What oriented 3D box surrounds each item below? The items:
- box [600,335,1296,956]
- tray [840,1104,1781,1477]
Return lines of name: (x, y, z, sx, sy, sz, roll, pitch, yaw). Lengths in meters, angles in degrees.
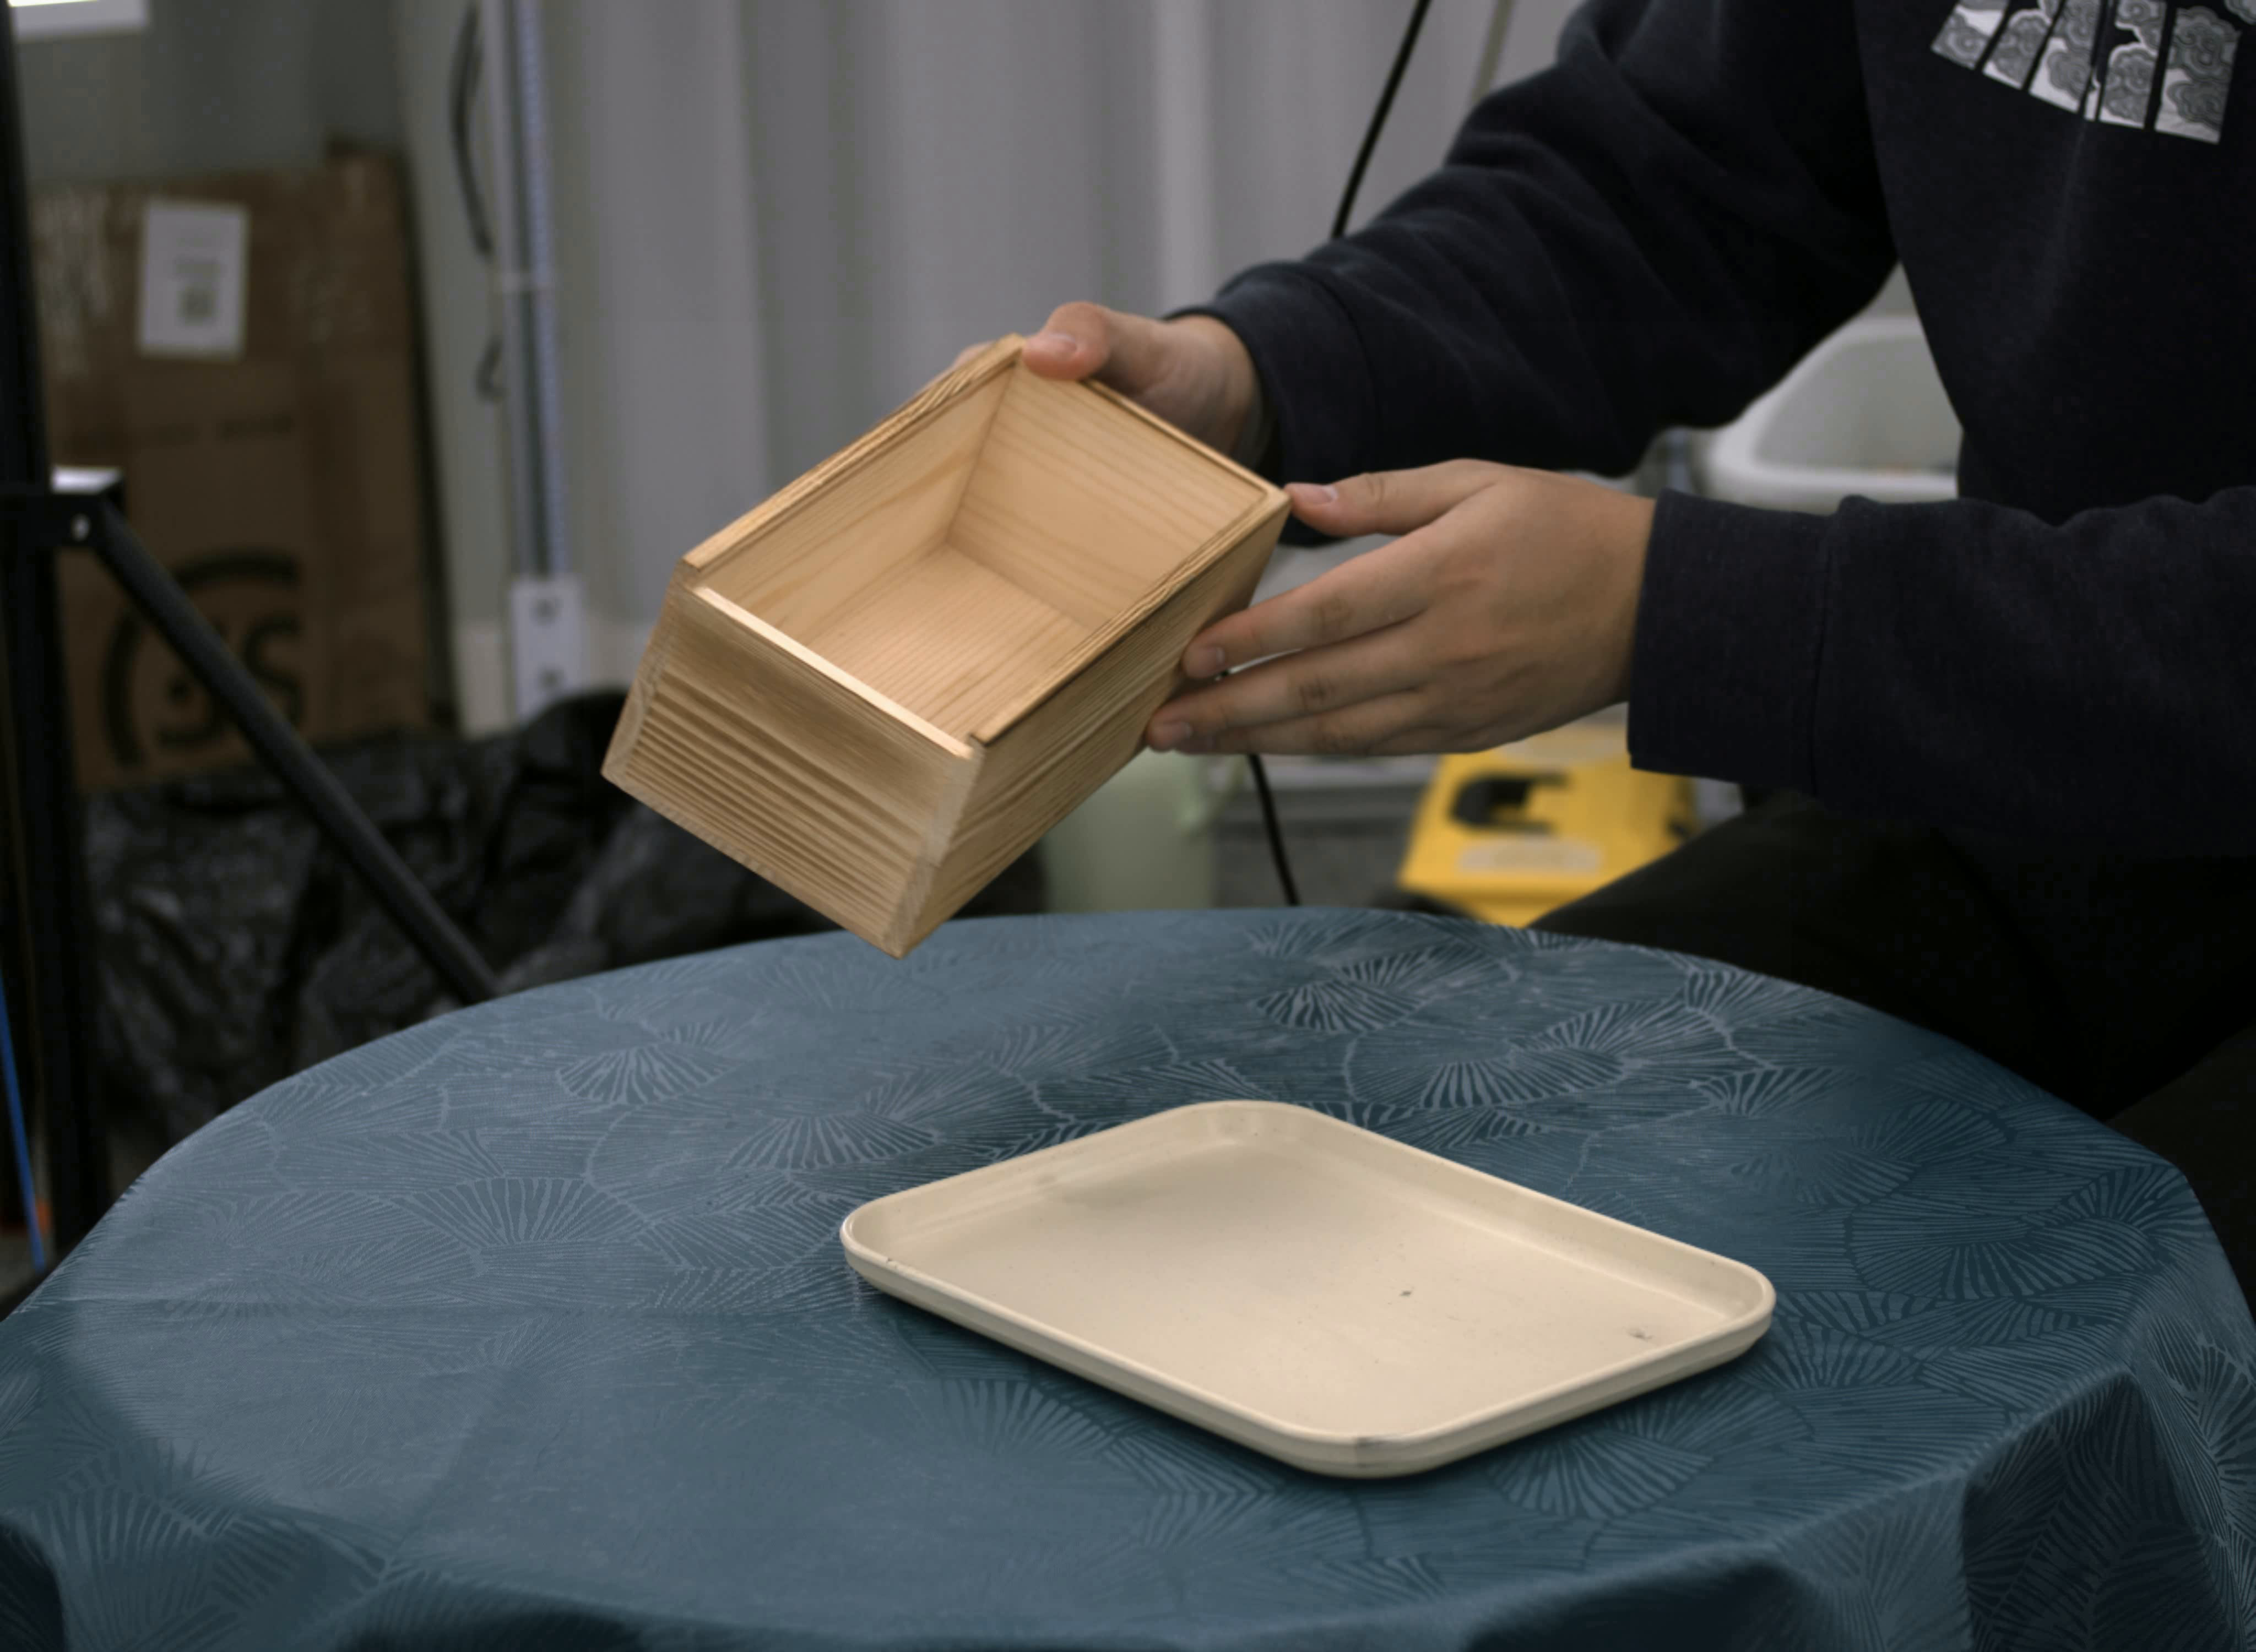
box: (-0.050, -0.058, 1.591, 0.108, 0.080, 0.208, 31, 33, 13)
tray: (0.048, 0.126, 1.456, 0.167, 0.017, 0.245, -14, 19, -36)
